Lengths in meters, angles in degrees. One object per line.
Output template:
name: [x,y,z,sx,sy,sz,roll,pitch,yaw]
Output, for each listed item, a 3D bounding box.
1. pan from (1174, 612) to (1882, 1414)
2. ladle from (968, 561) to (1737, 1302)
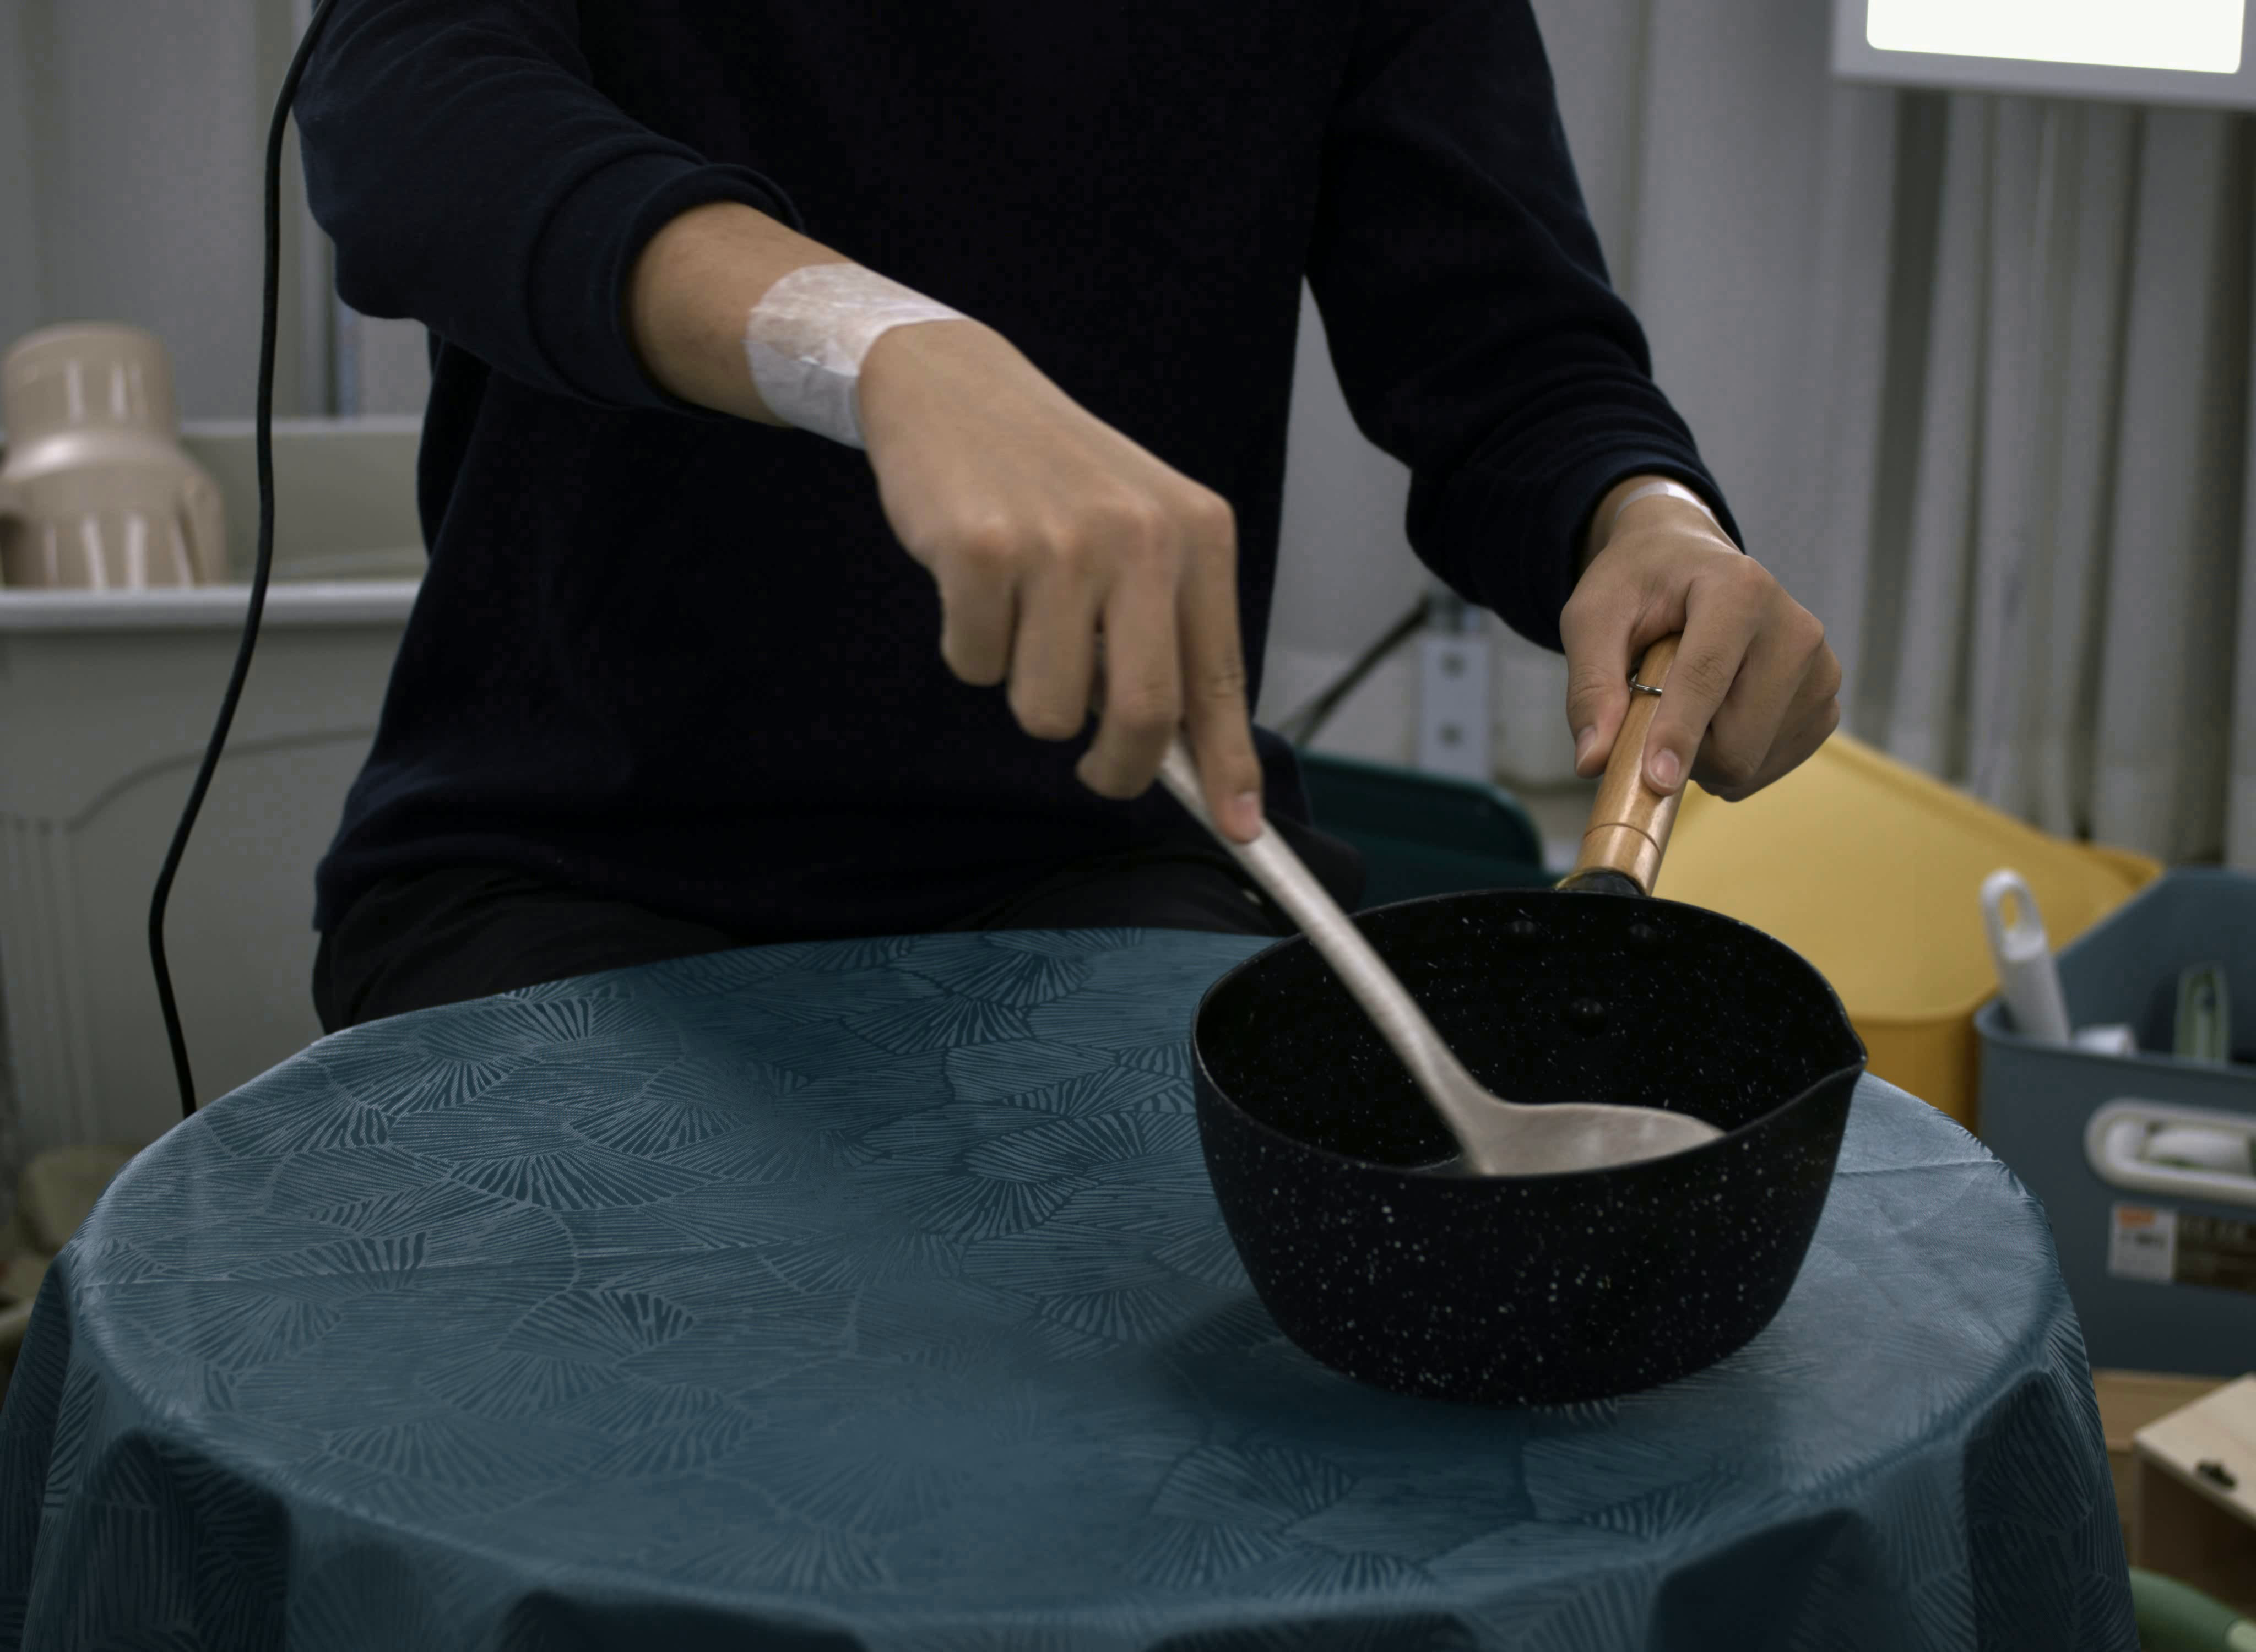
pan: [0.132,0.050,1.564,0.206,0.109,0.342,3,26,16]
ladle: [0.066,0.020,1.431,0.069,0.277,0.089,-30,18,28]
